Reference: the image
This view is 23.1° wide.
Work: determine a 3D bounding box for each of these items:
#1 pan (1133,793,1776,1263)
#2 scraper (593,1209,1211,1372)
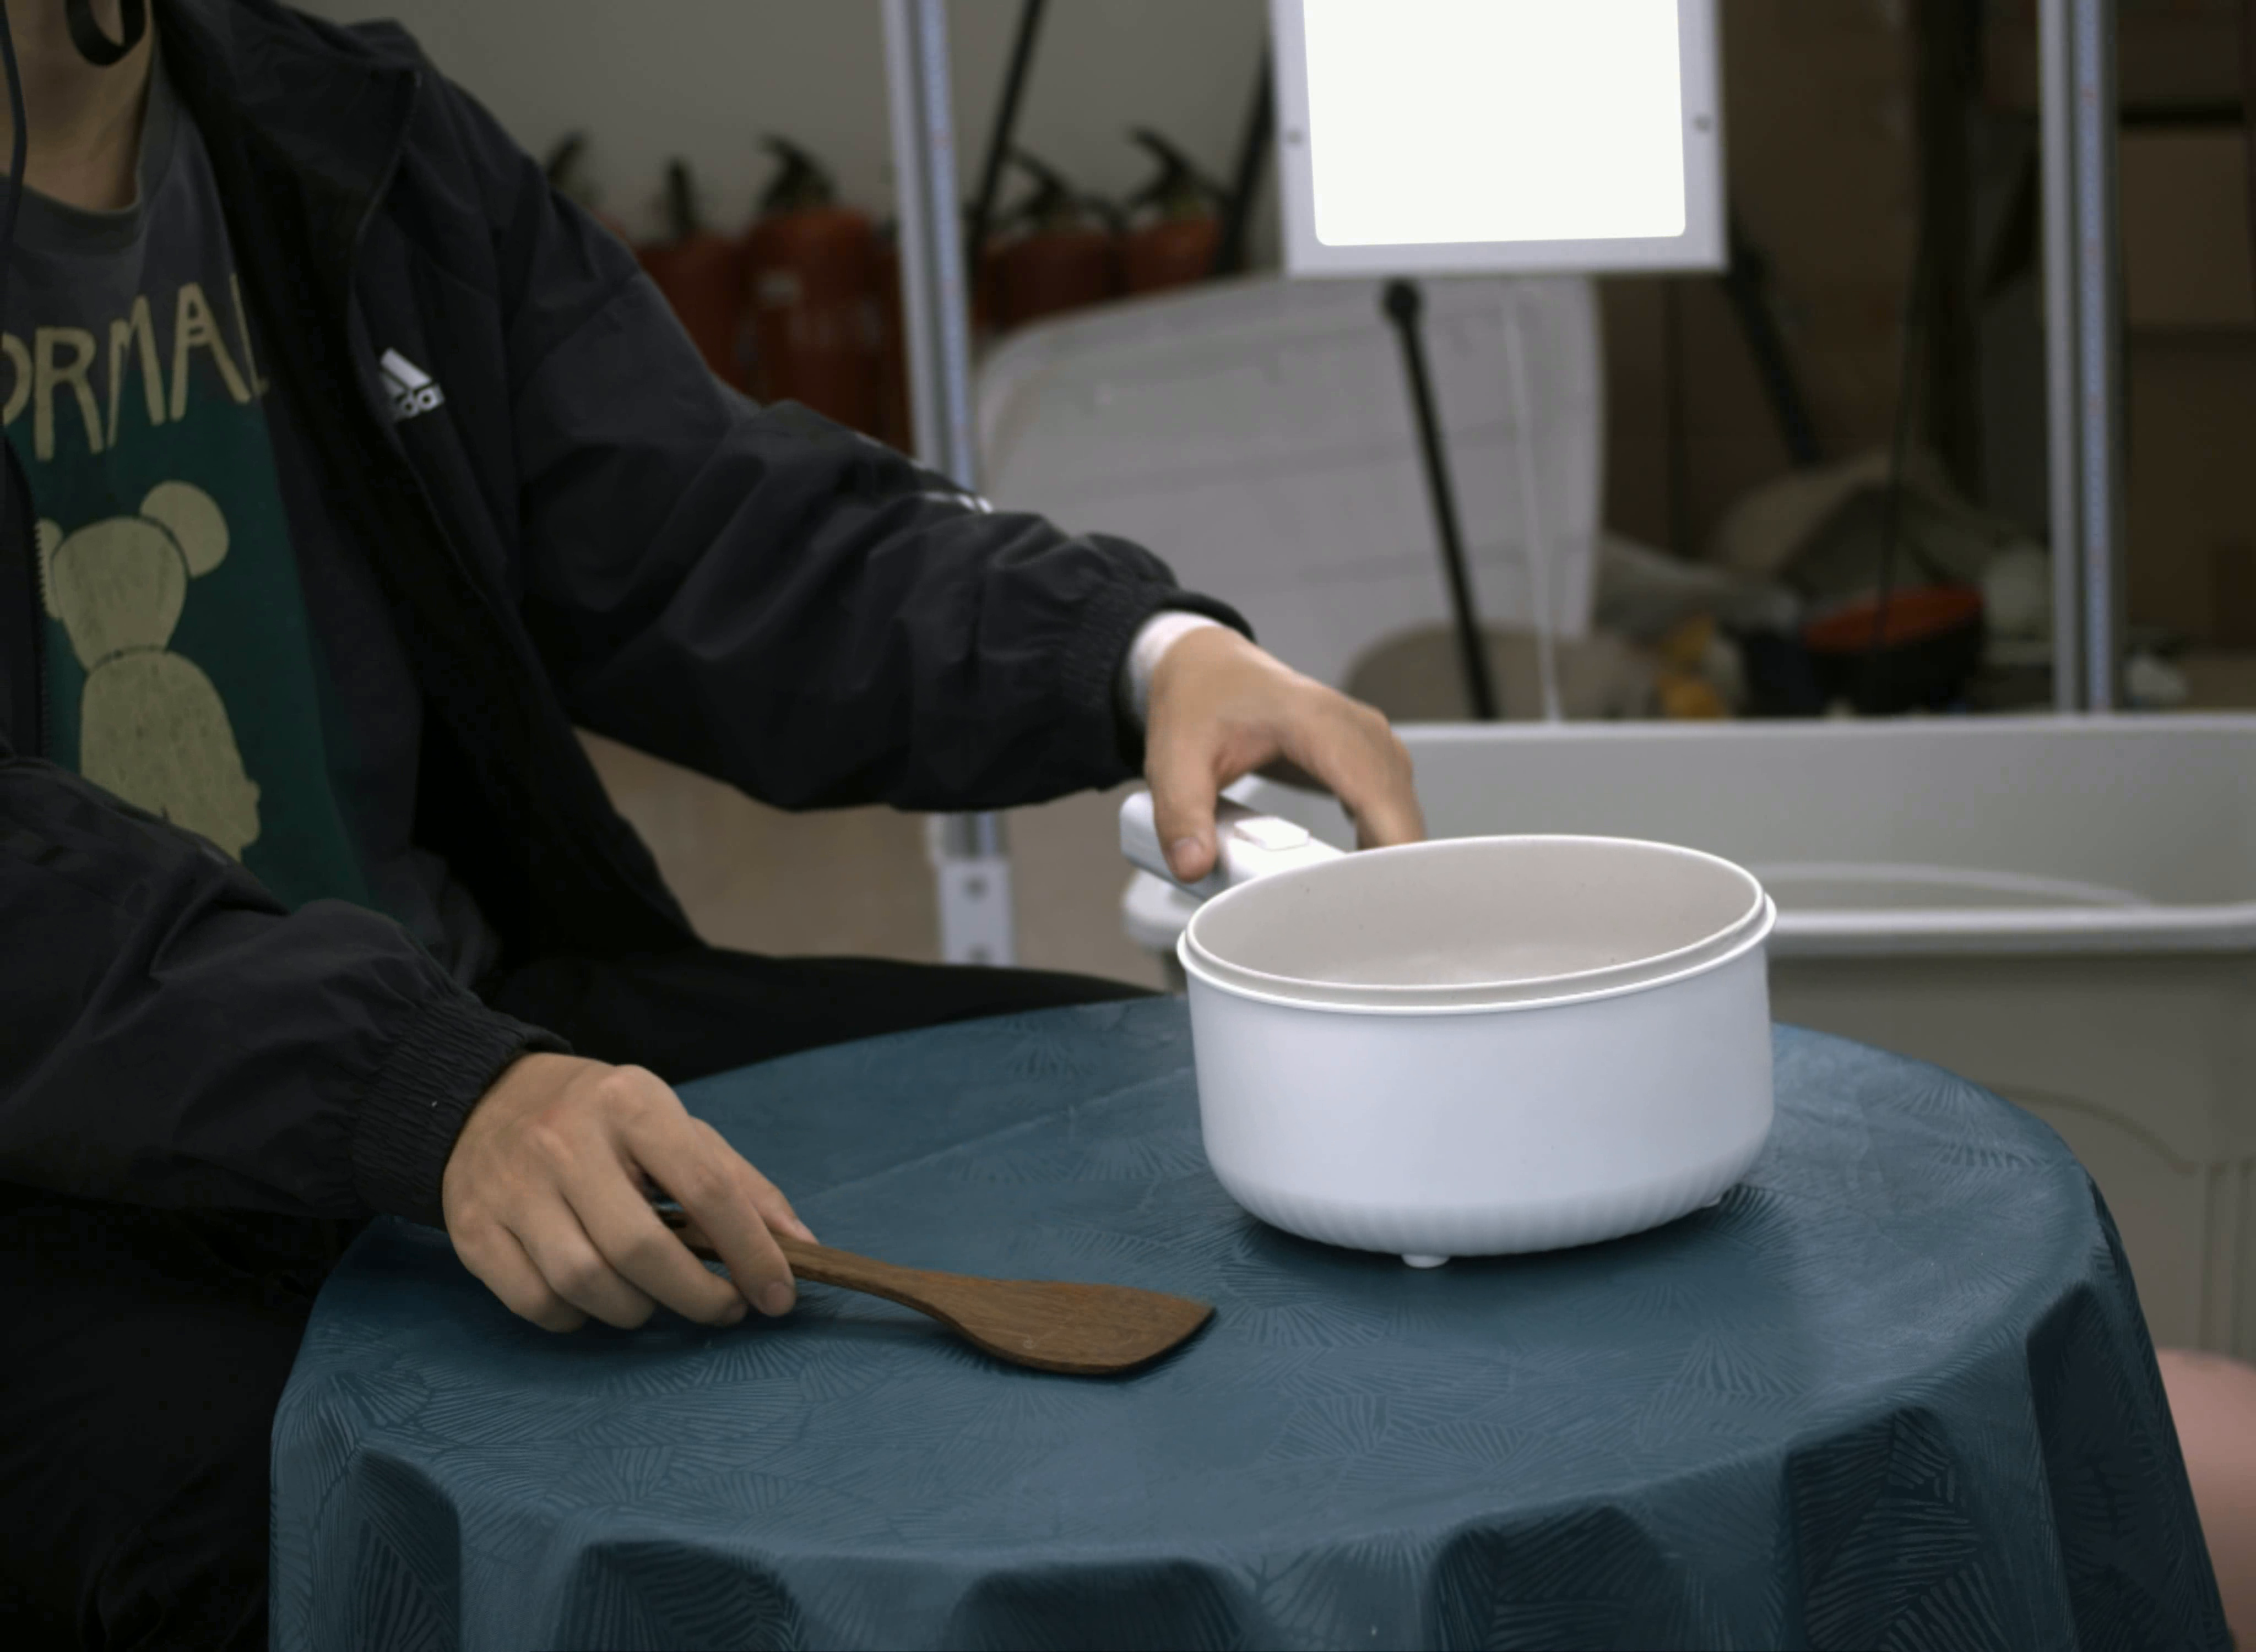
[{"bbox_3d":[0.090,0.063,1.918,0.197,0.102,0.360,-11,13,-21],"label":"pan"},{"bbox_3d":[-0.077,0.147,1.780,0.214,0.011,0.074,10,16,25],"label":"scraper"}]
